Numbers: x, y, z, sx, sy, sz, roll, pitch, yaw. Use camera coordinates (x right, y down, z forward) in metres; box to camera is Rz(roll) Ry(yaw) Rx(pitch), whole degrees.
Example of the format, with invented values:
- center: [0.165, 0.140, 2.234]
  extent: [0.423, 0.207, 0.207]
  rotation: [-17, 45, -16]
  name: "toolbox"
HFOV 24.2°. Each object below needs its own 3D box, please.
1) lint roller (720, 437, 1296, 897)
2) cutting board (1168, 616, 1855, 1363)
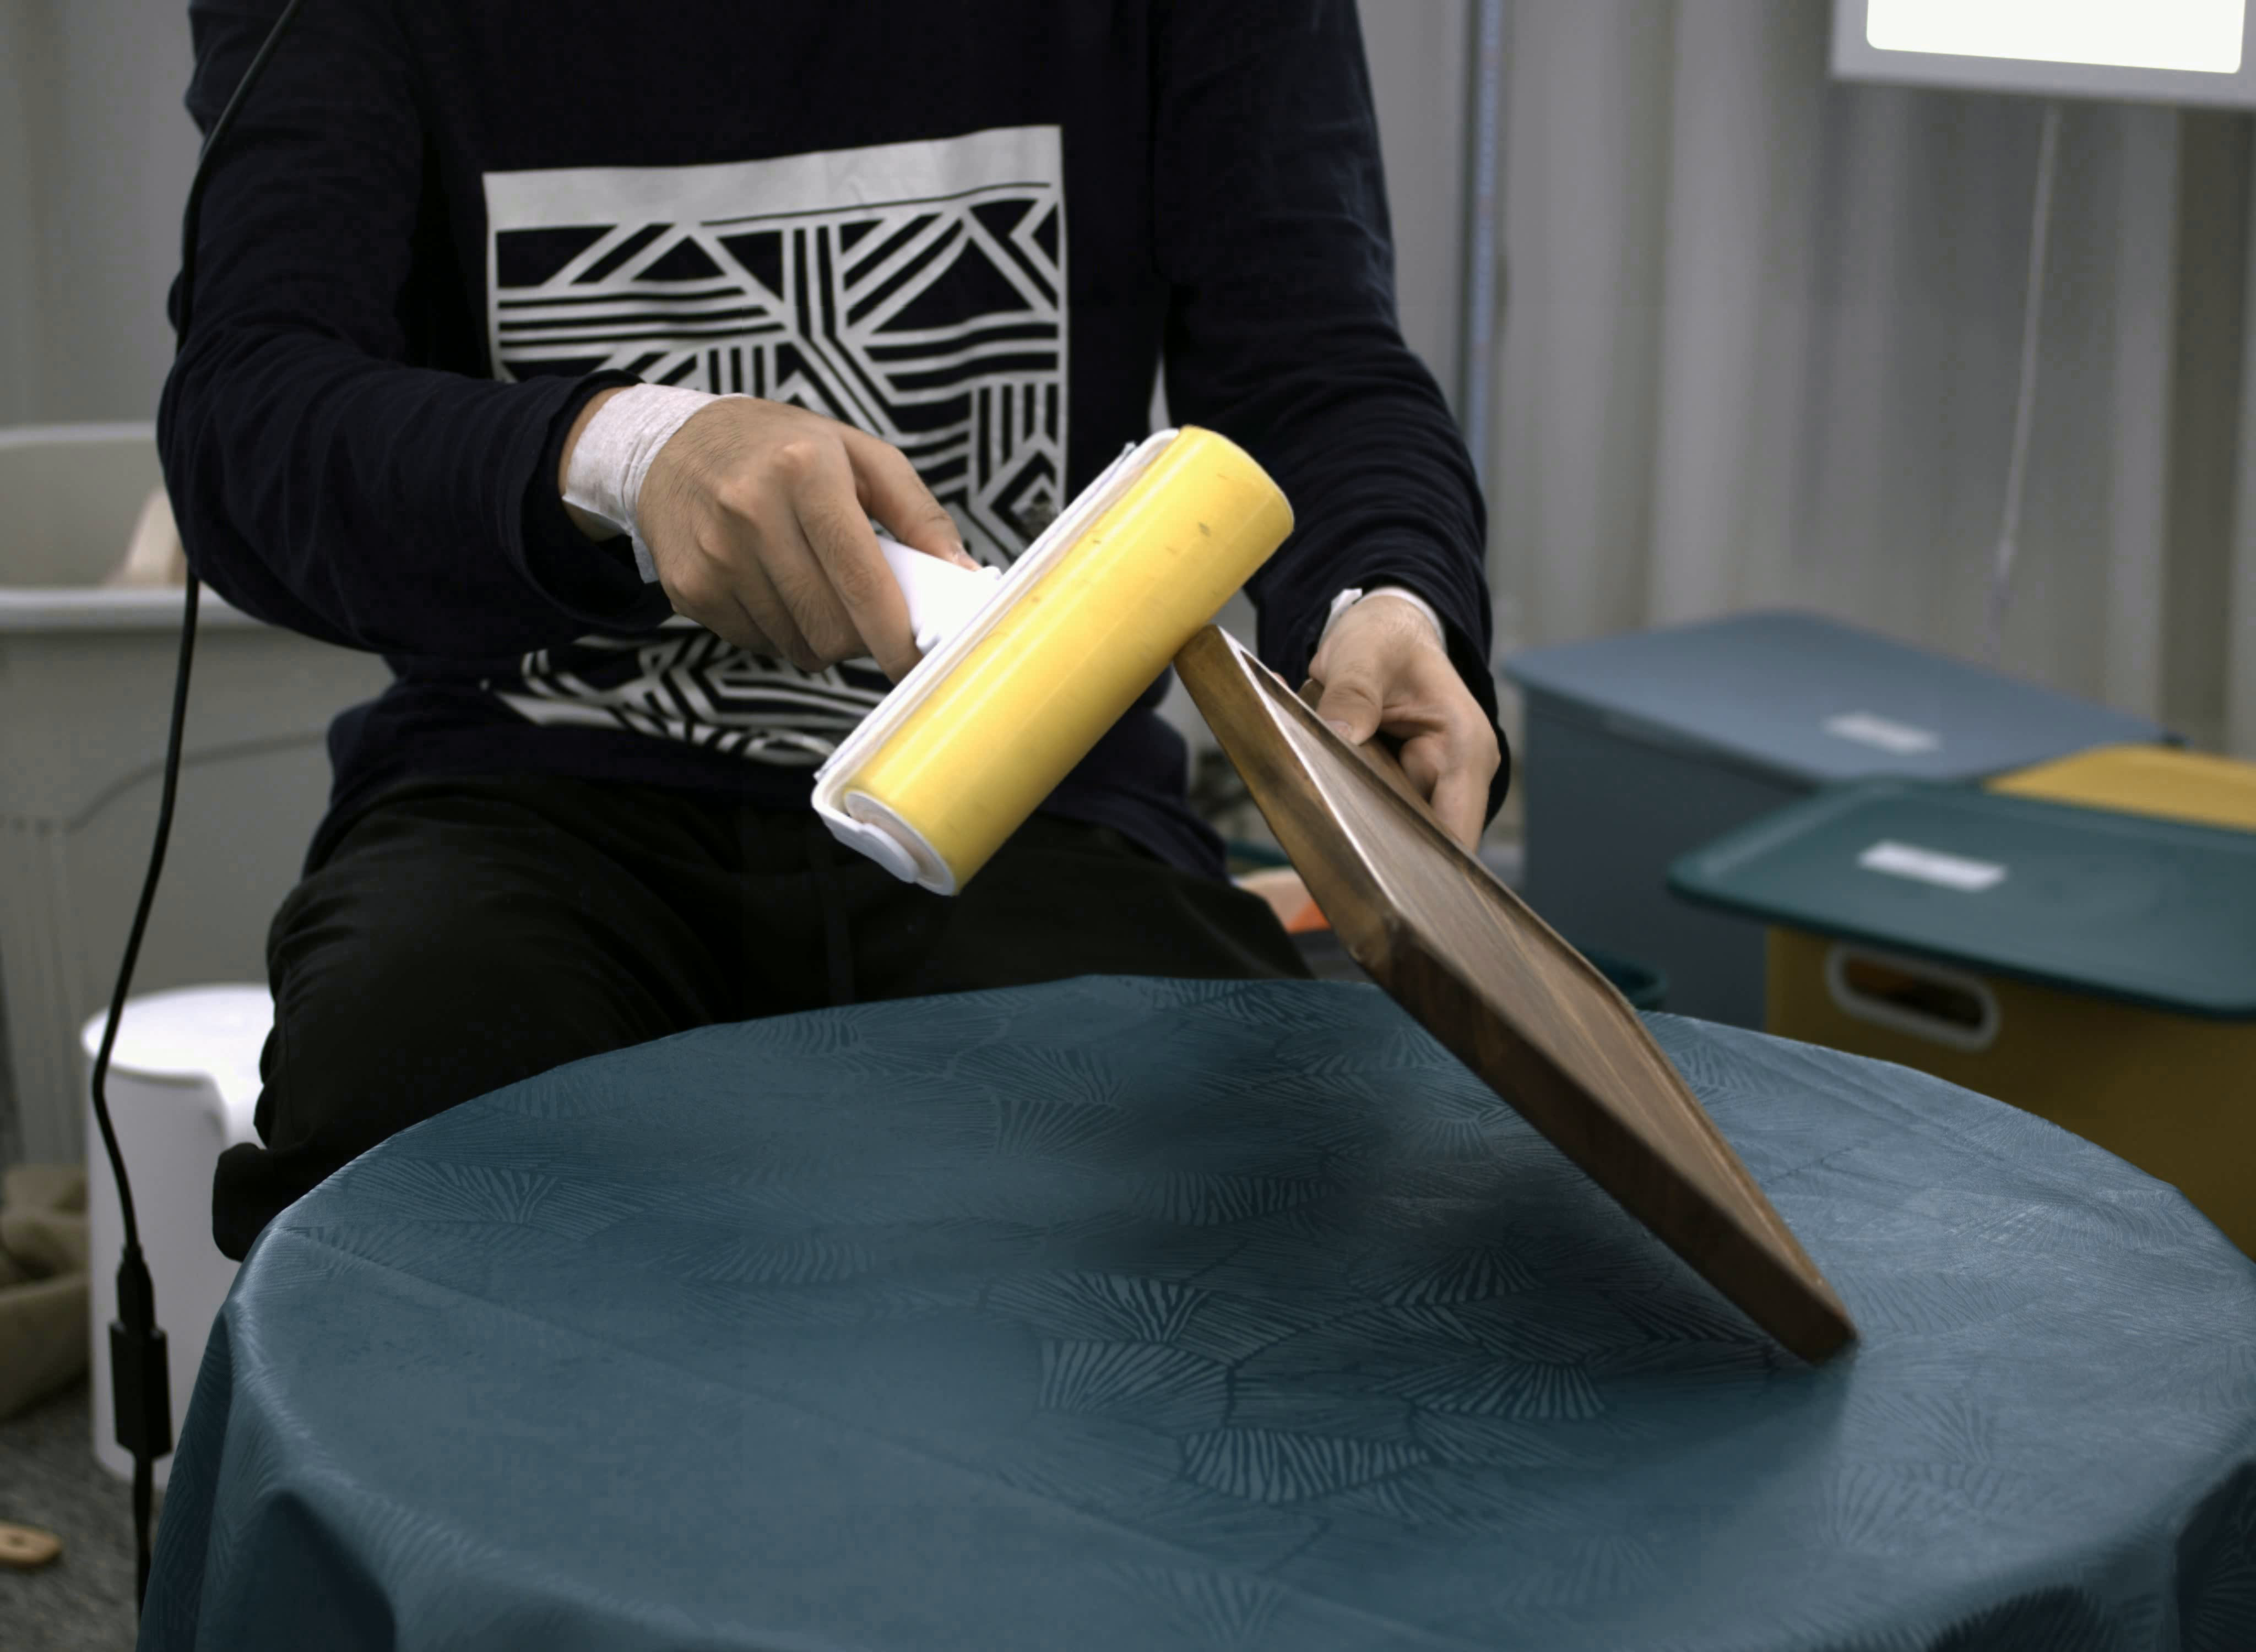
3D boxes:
- center: [-0.067, -0.075, 1.659]
  extent: [0.189, 0.052, 0.174]
  rotation: [28, 66, 36]
  name: "lint roller"
- center: [0.099, 0.026, 1.592]
  extent: [0.203, 0.023, 0.348]
  rotation: [42, 8, -23]
  name: "cutting board"
